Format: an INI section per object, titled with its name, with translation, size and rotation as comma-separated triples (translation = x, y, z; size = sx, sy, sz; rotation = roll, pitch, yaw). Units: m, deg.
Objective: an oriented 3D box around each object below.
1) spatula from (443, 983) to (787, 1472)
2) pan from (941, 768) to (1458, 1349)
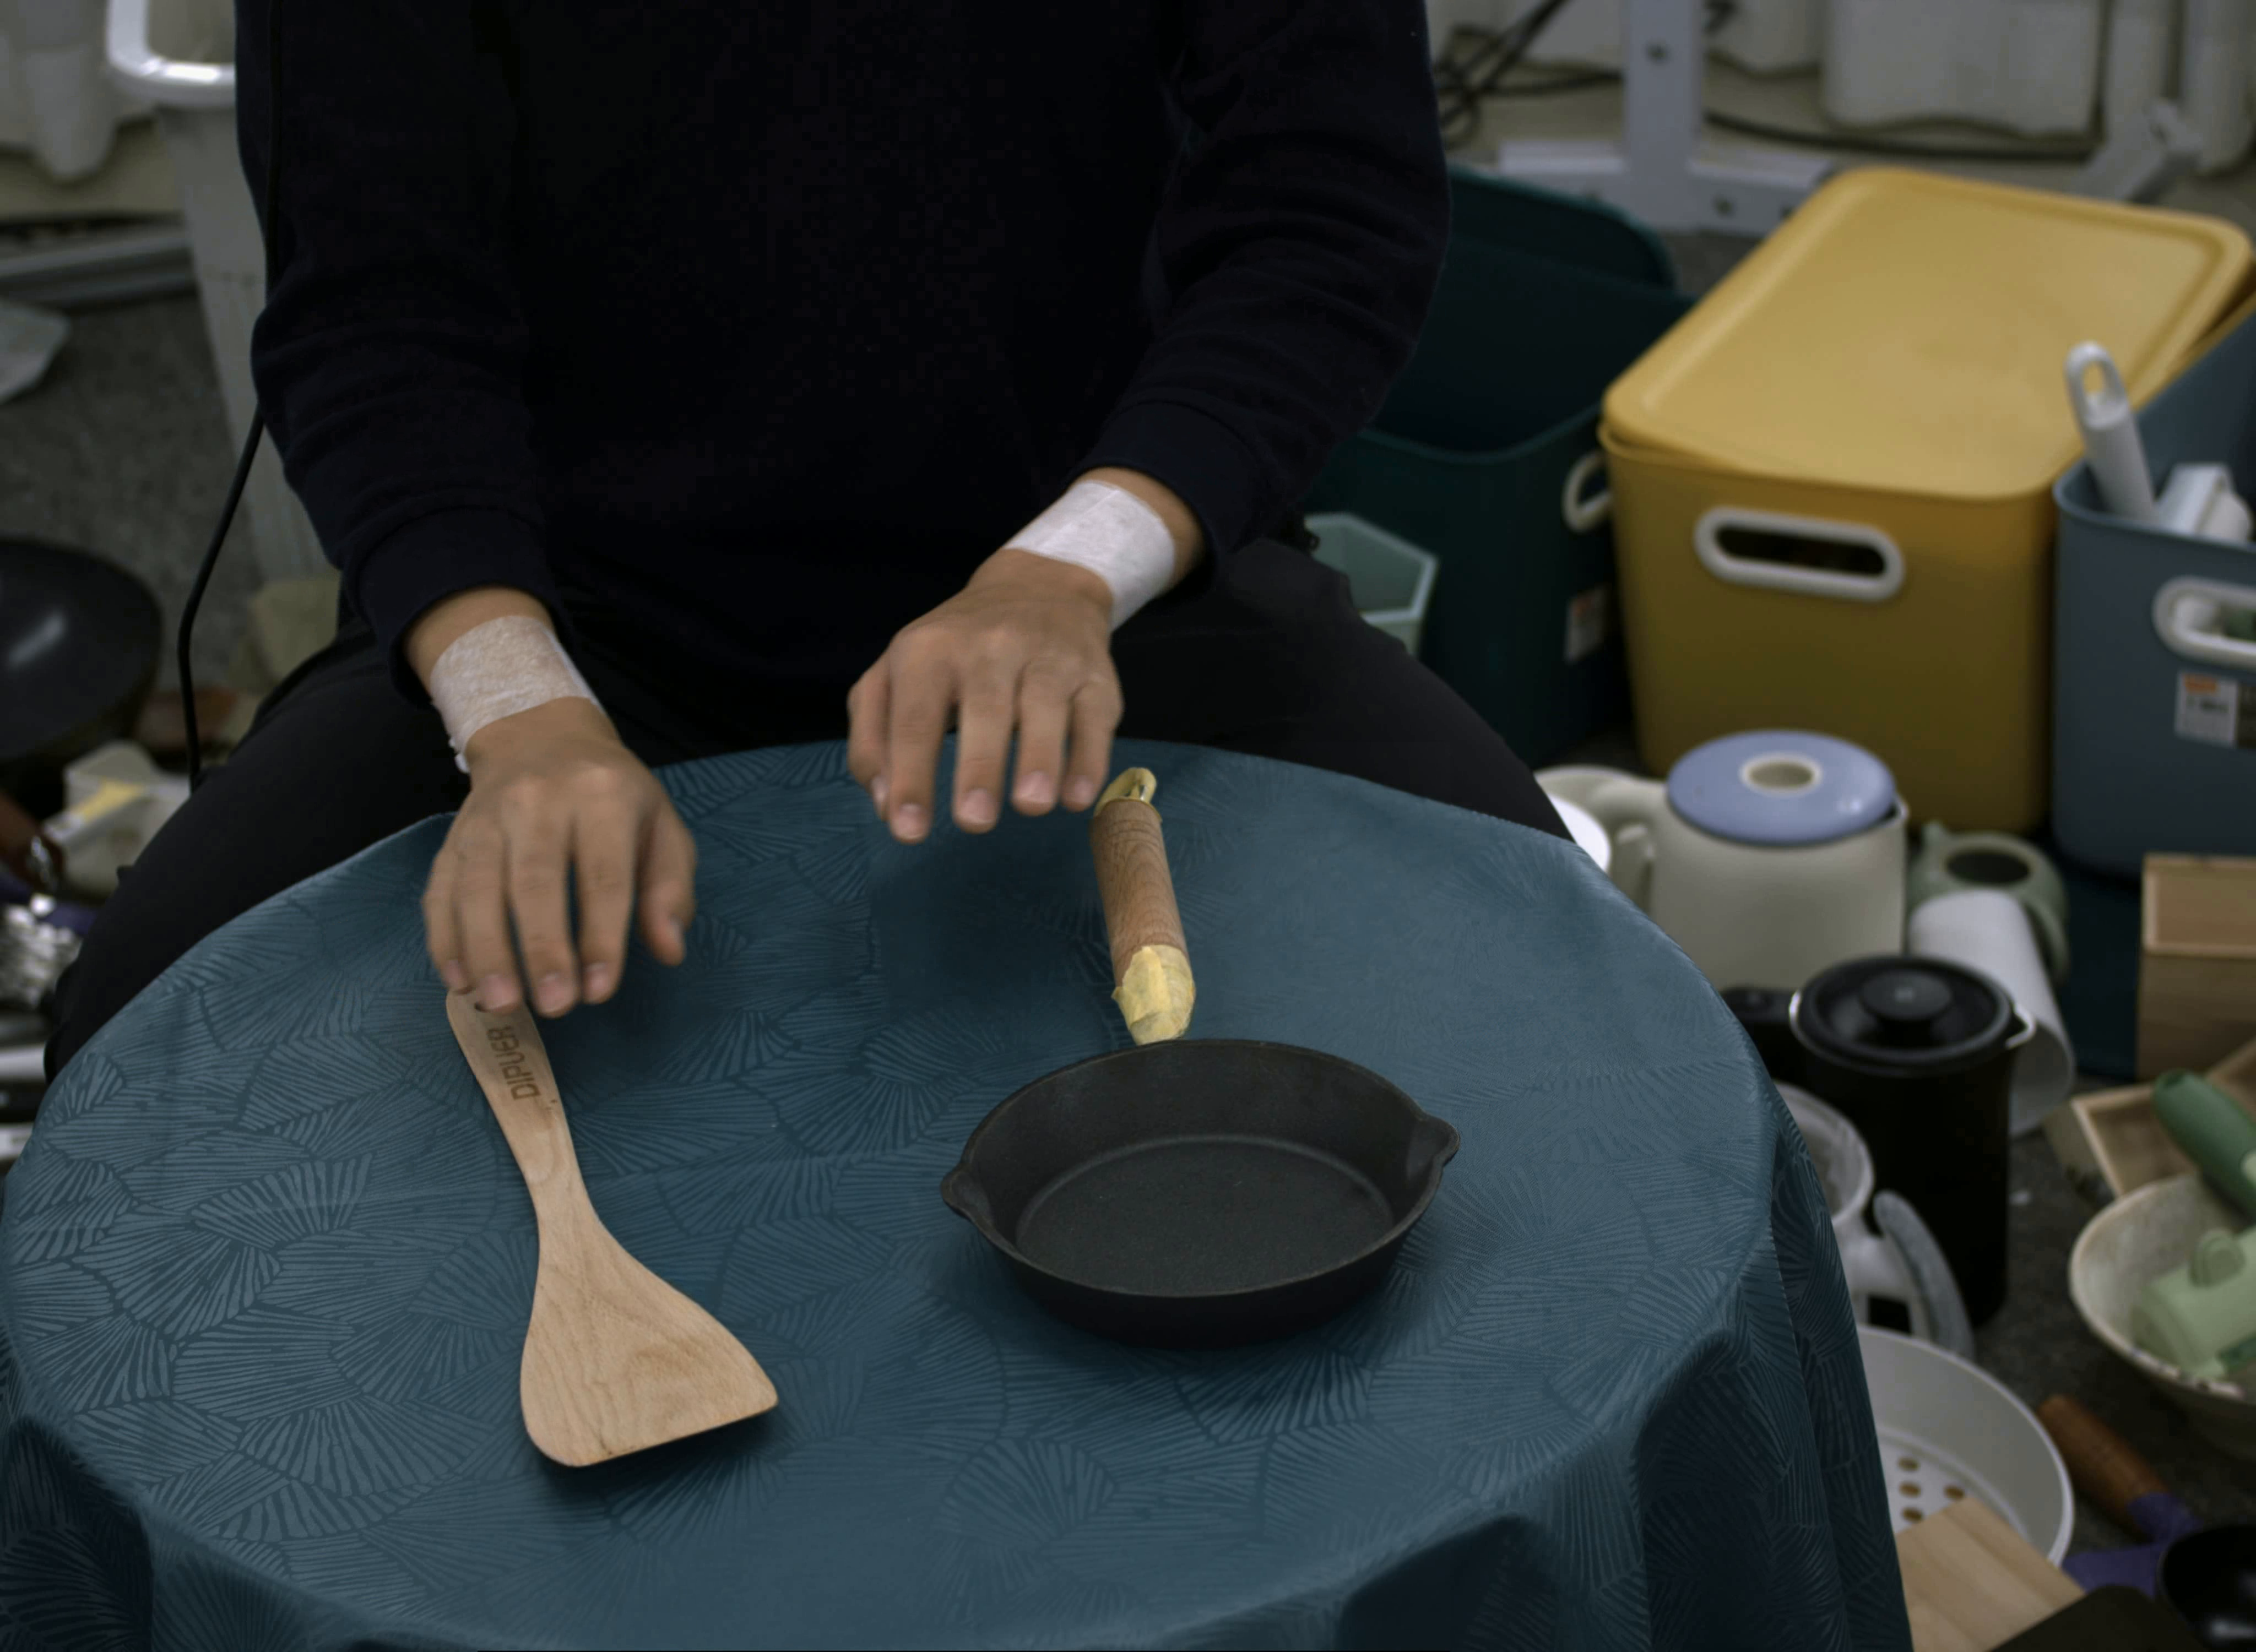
[spatula]
translation = -0.185, 0.126, 1.855
size = 0.080, 0.016, 0.331
rotation = -9, 28, -14
[pan]
translation = 0.016, 0.075, 1.895
size = 0.168, 0.049, 0.329
rotation = -5, 29, -3
